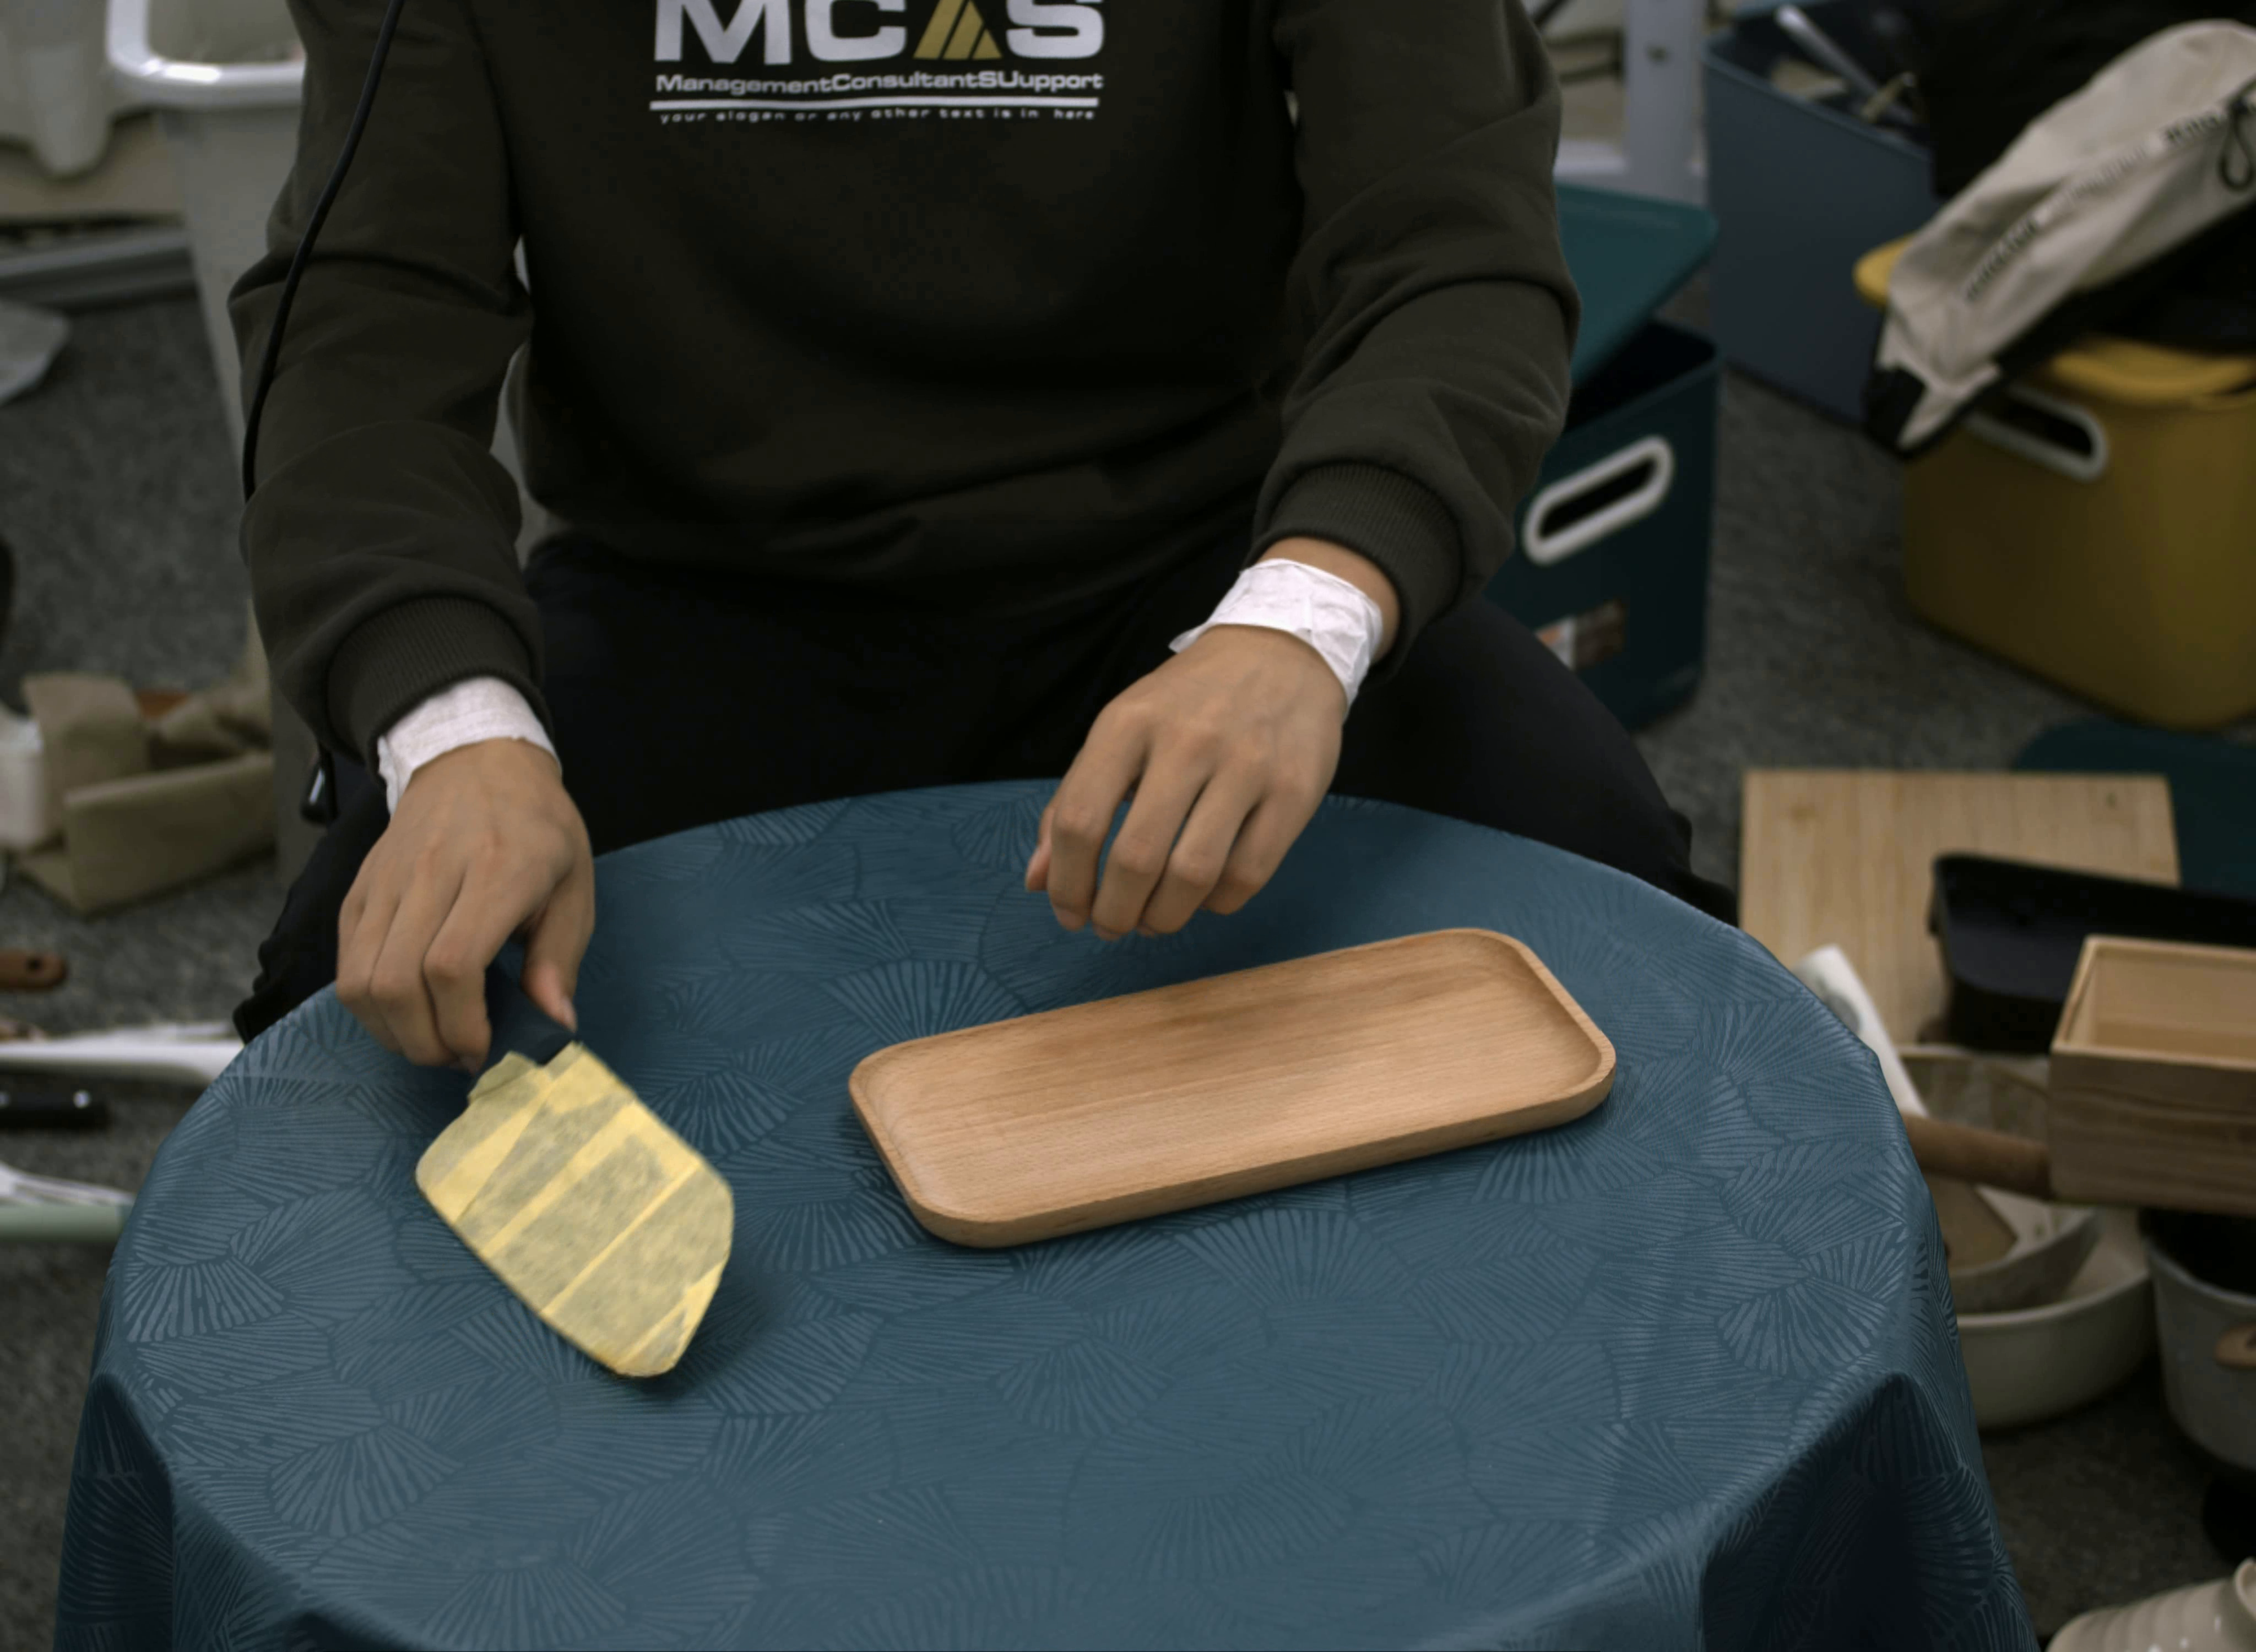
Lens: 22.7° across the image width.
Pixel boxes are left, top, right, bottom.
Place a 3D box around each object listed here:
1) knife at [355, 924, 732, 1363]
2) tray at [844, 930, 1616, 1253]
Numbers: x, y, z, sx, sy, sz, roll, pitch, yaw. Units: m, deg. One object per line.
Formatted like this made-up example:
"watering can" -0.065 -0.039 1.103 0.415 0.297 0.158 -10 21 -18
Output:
"knife" -0.206 0.104 1.873 0.081 0.027 0.291 -38 36 -9
"tray" 0.034 0.089 1.903 0.251 0.022 0.131 -12 26 -16
